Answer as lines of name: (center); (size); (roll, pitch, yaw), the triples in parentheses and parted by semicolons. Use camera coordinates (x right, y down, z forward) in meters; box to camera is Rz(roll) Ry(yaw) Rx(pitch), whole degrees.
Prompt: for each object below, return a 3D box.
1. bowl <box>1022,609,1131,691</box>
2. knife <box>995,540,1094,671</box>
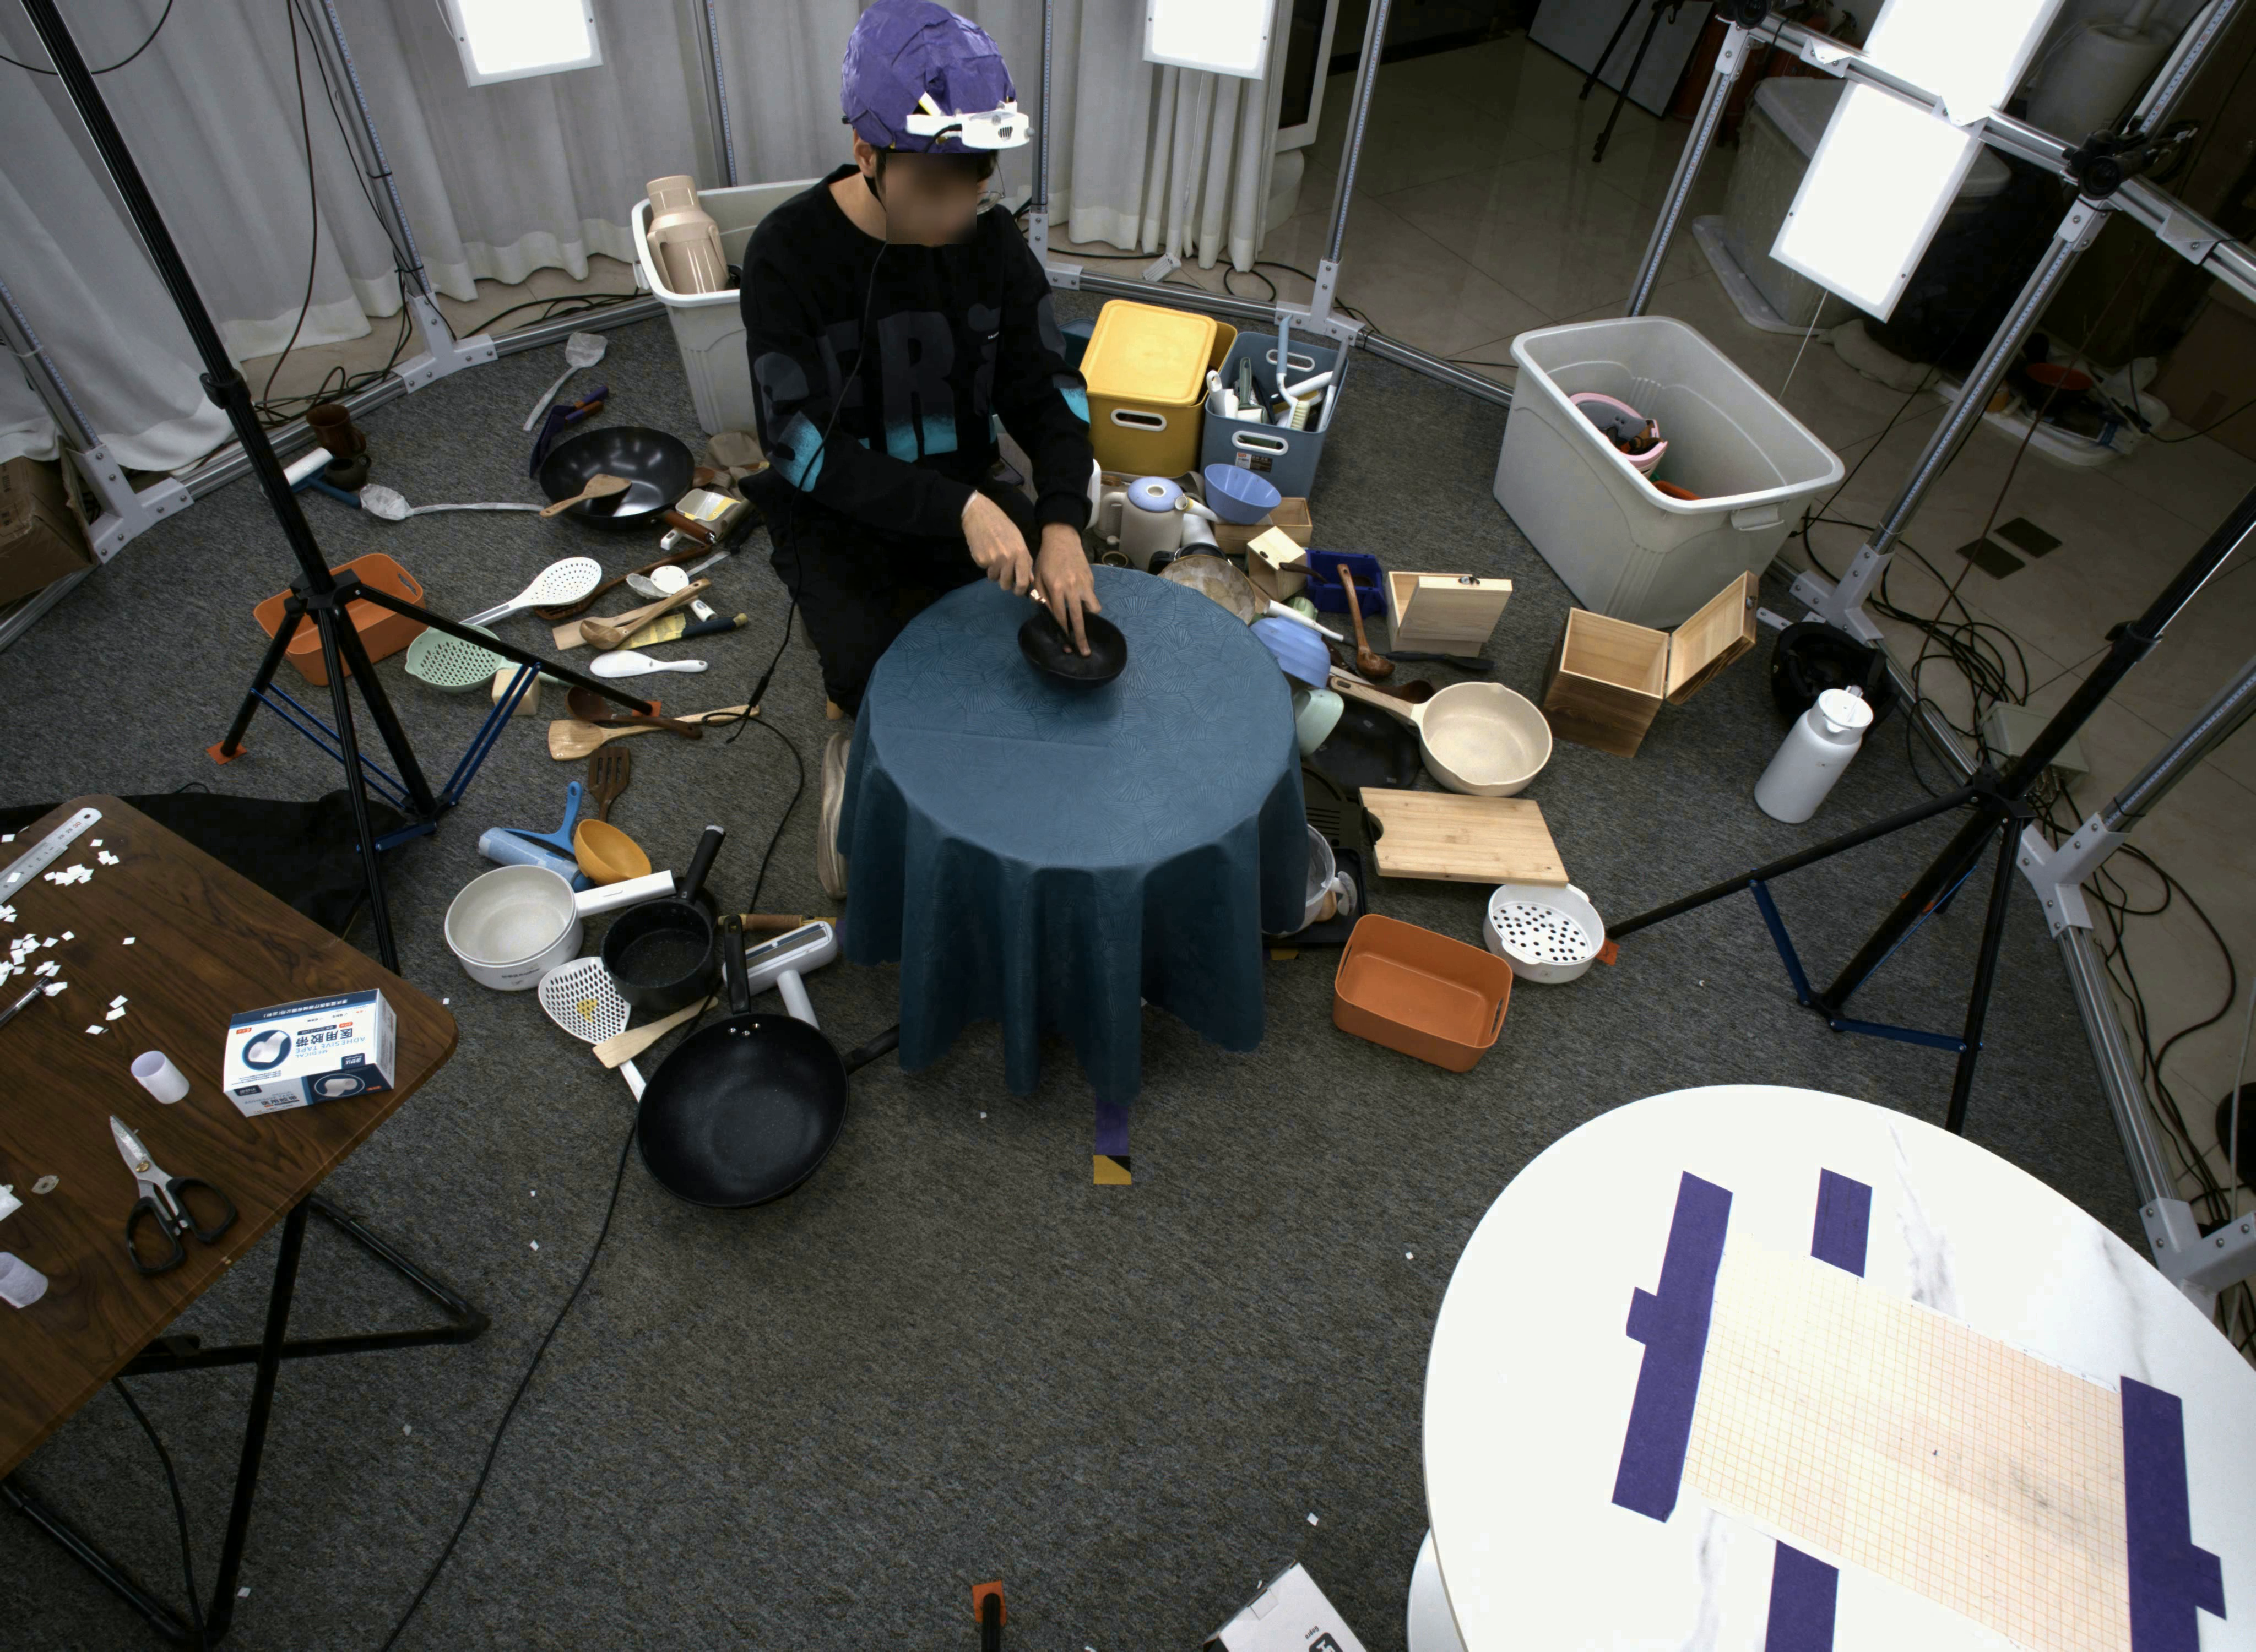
bowl: (-0.075, -0.240, 1.831); (0.172, 0.065, 0.139); (31, 54, 23)
knife: (-0.117, -0.311, 1.820); (0.017, 0.026, 0.225); (-37, 92, -26)
